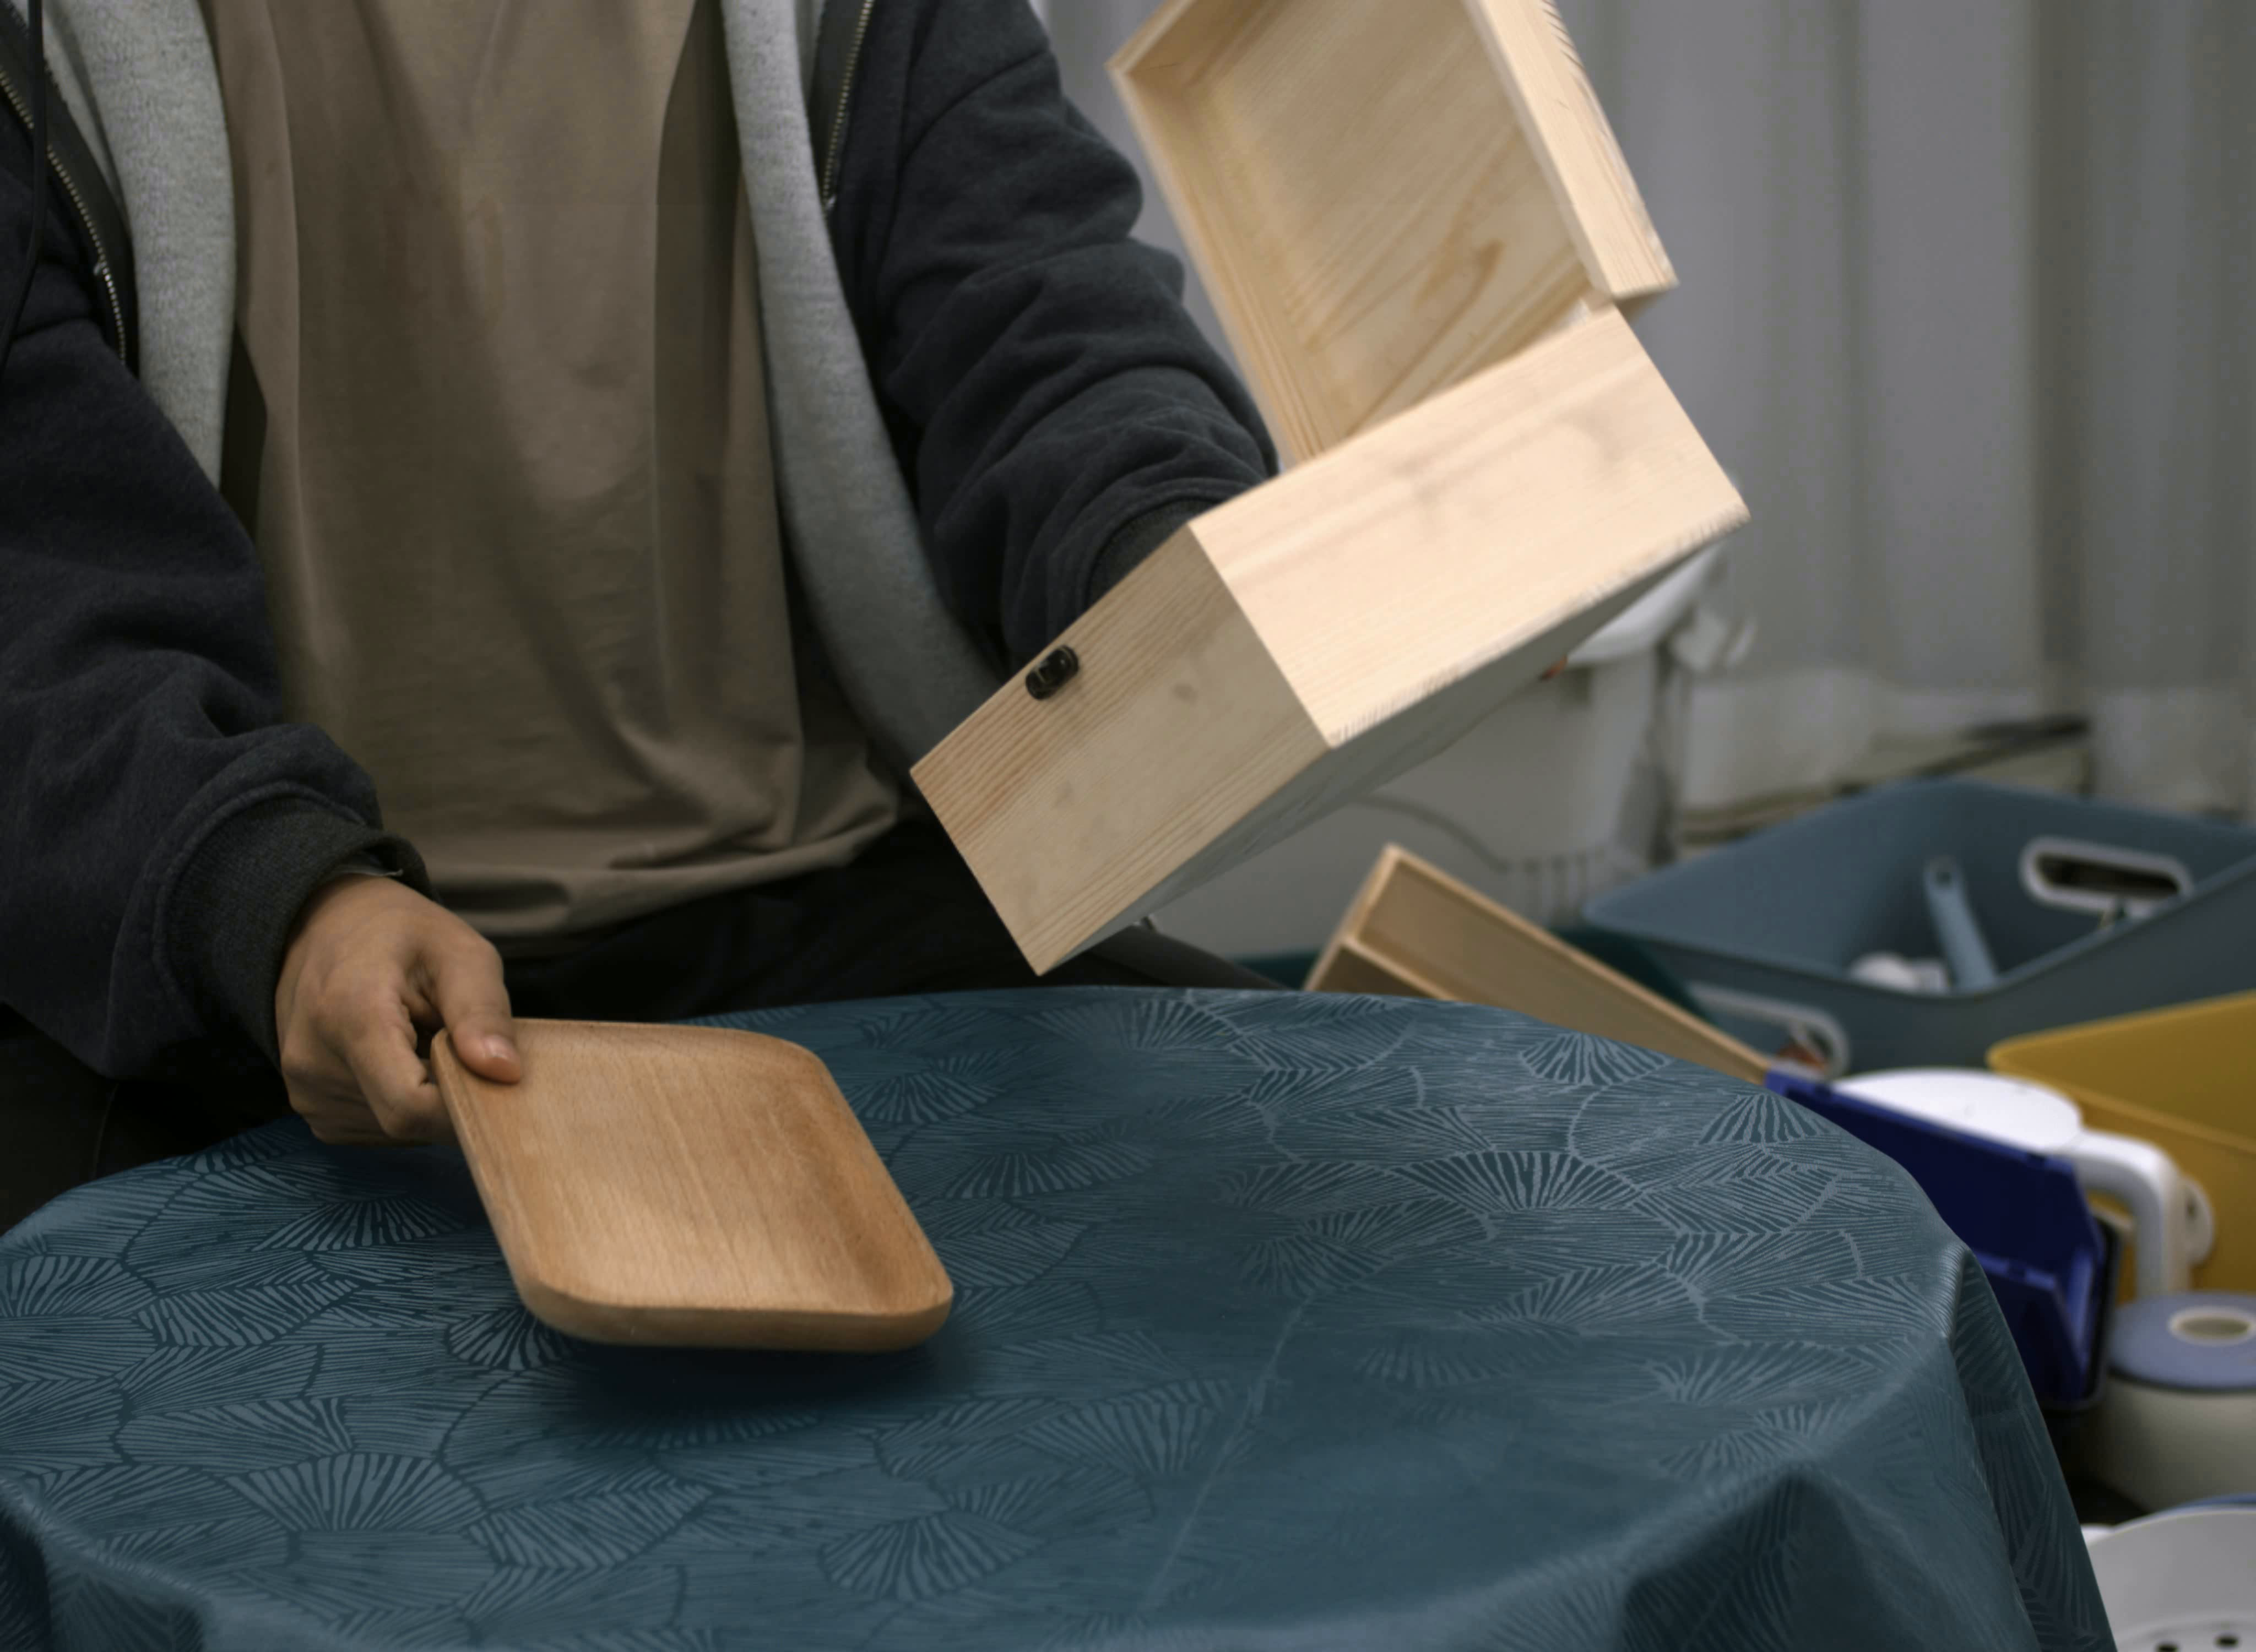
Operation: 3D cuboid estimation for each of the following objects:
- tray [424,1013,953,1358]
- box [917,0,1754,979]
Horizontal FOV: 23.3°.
[{"bbox_3d":[-0.136,0.106,1.646,0.130,0.023,0.253,6,15,-16],"label":"tray"},{"bbox_3d":[0.040,-0.138,1.660,0.265,0.254,0.180,-26,-11,-37],"label":"box"}]
